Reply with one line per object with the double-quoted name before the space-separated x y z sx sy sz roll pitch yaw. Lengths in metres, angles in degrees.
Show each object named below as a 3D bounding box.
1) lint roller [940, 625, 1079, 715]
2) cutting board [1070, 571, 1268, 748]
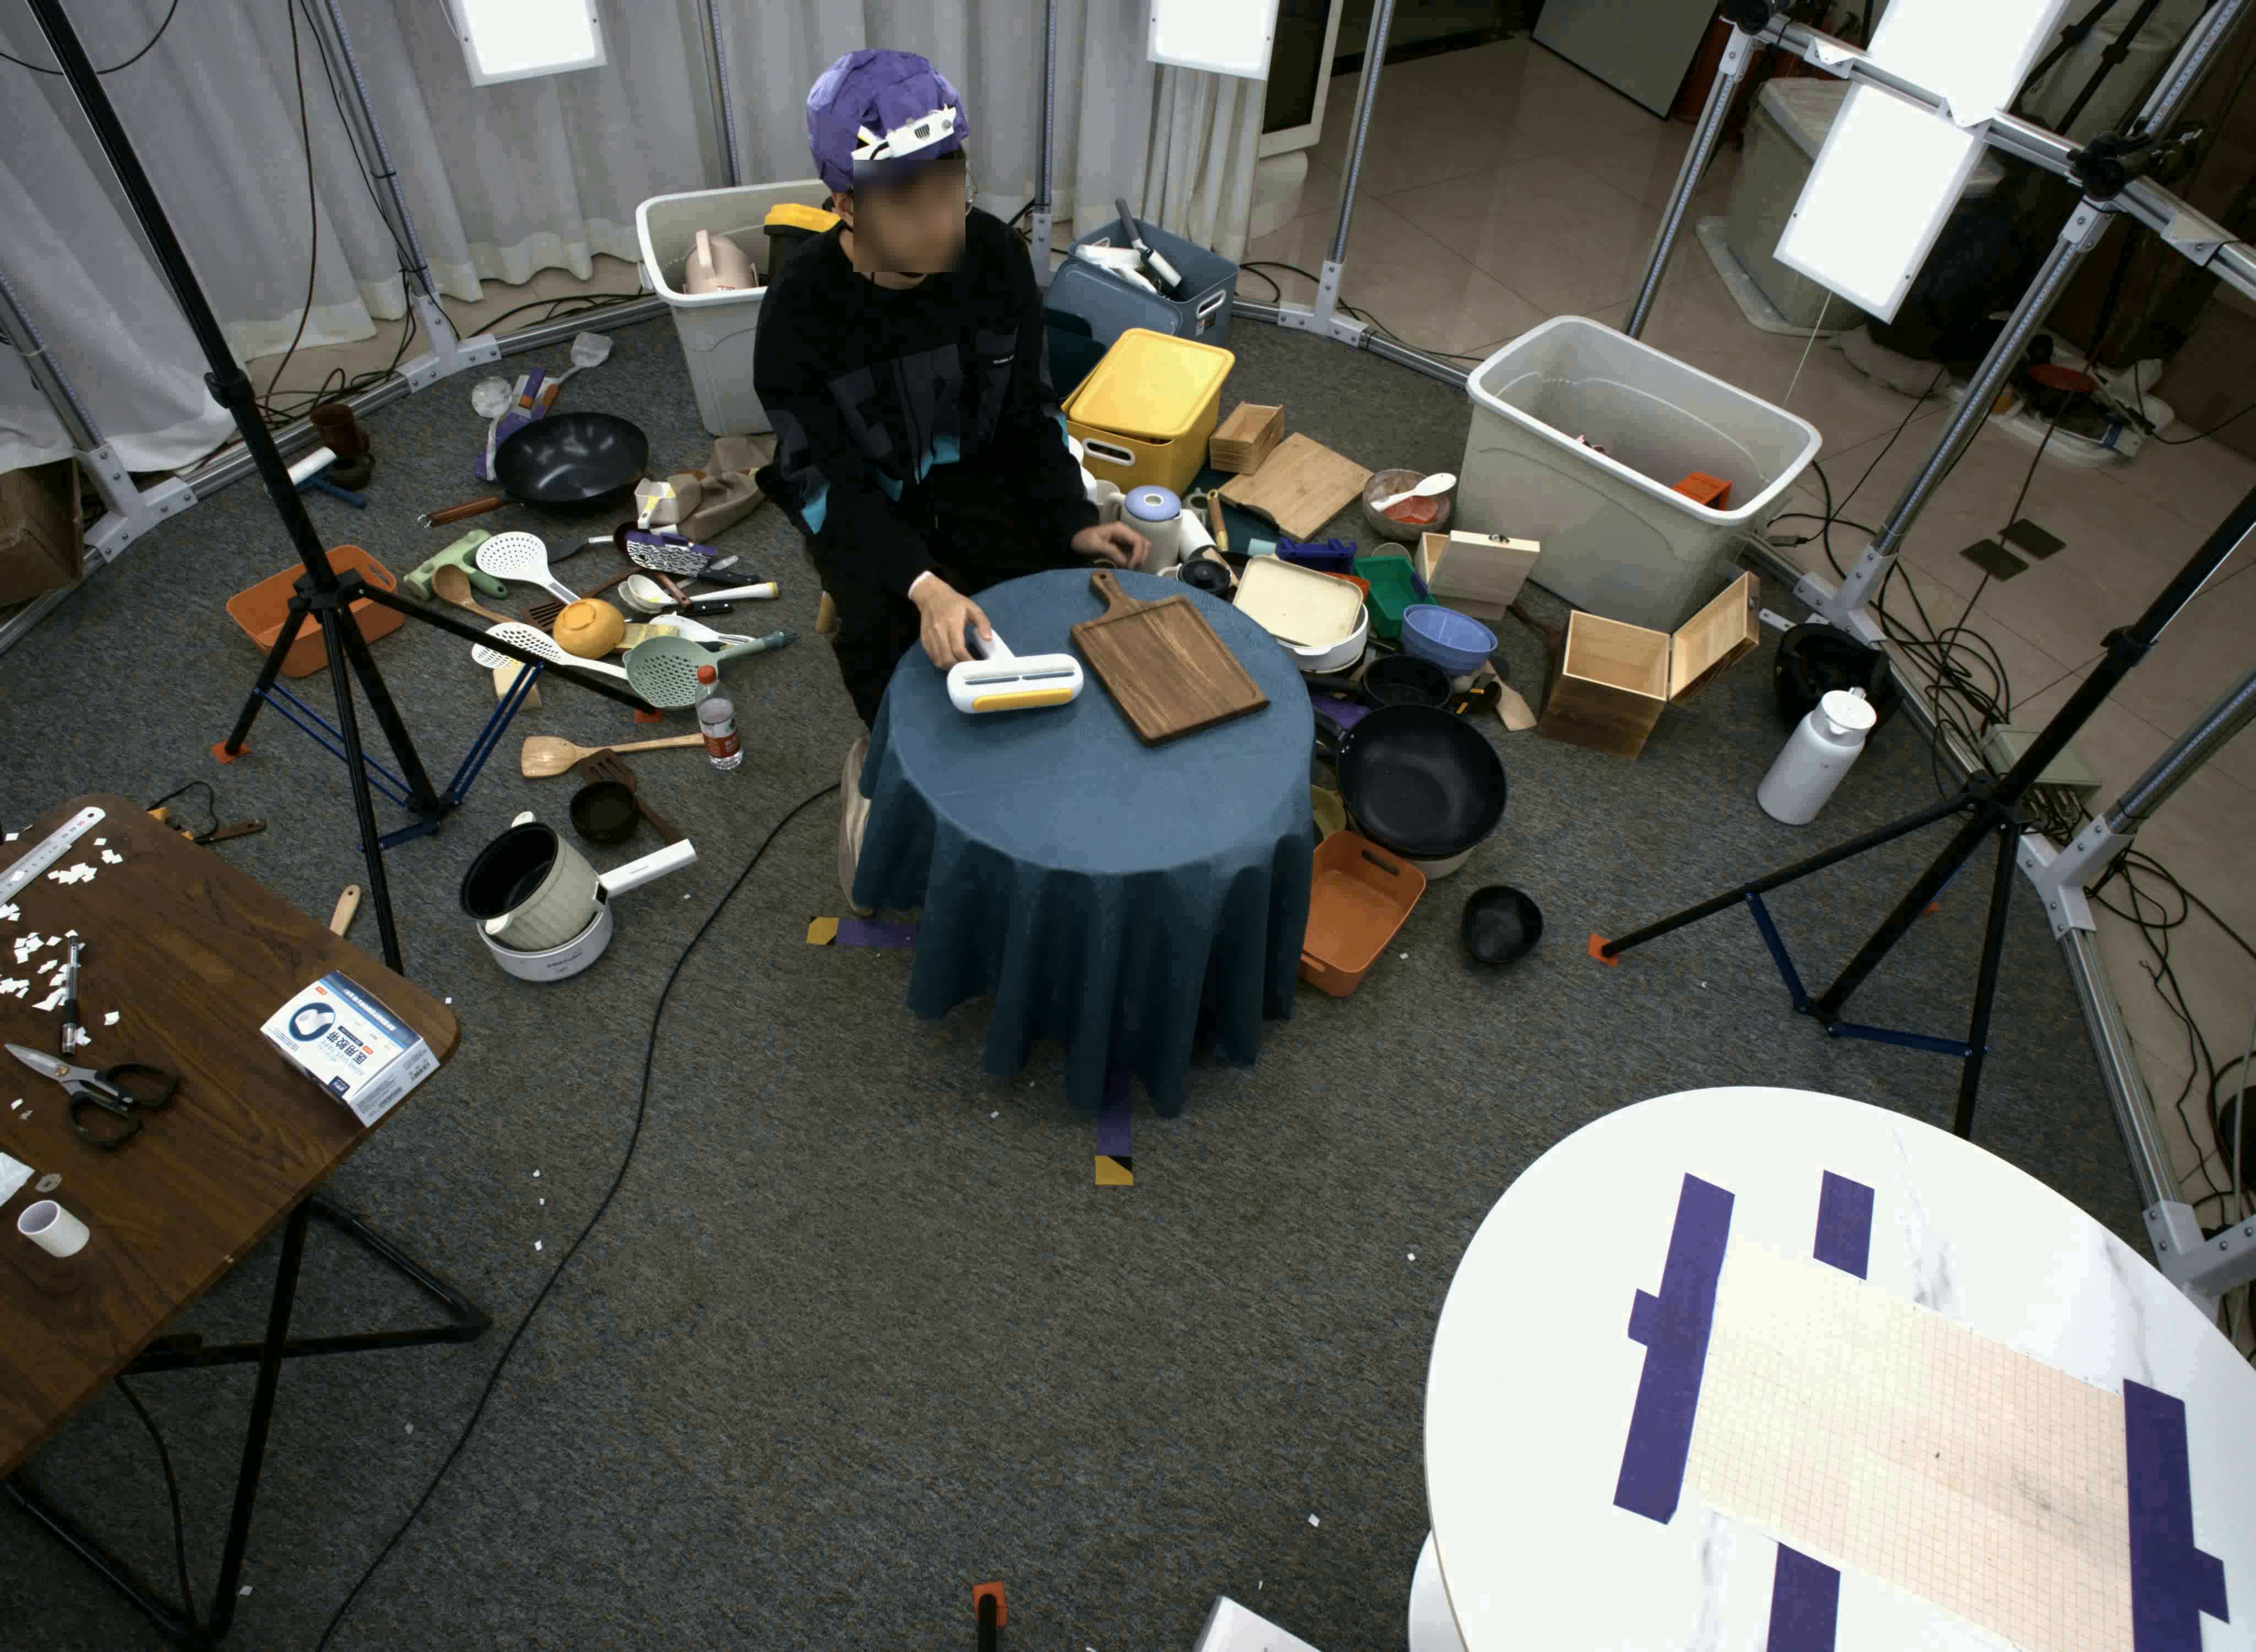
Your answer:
"lint roller" -0.180 -0.234 1.816 0.192 0.072 0.197 -8 48 -17
"cutting board" 0.034 -0.264 1.887 0.201 0.022 0.360 -20 53 -19
